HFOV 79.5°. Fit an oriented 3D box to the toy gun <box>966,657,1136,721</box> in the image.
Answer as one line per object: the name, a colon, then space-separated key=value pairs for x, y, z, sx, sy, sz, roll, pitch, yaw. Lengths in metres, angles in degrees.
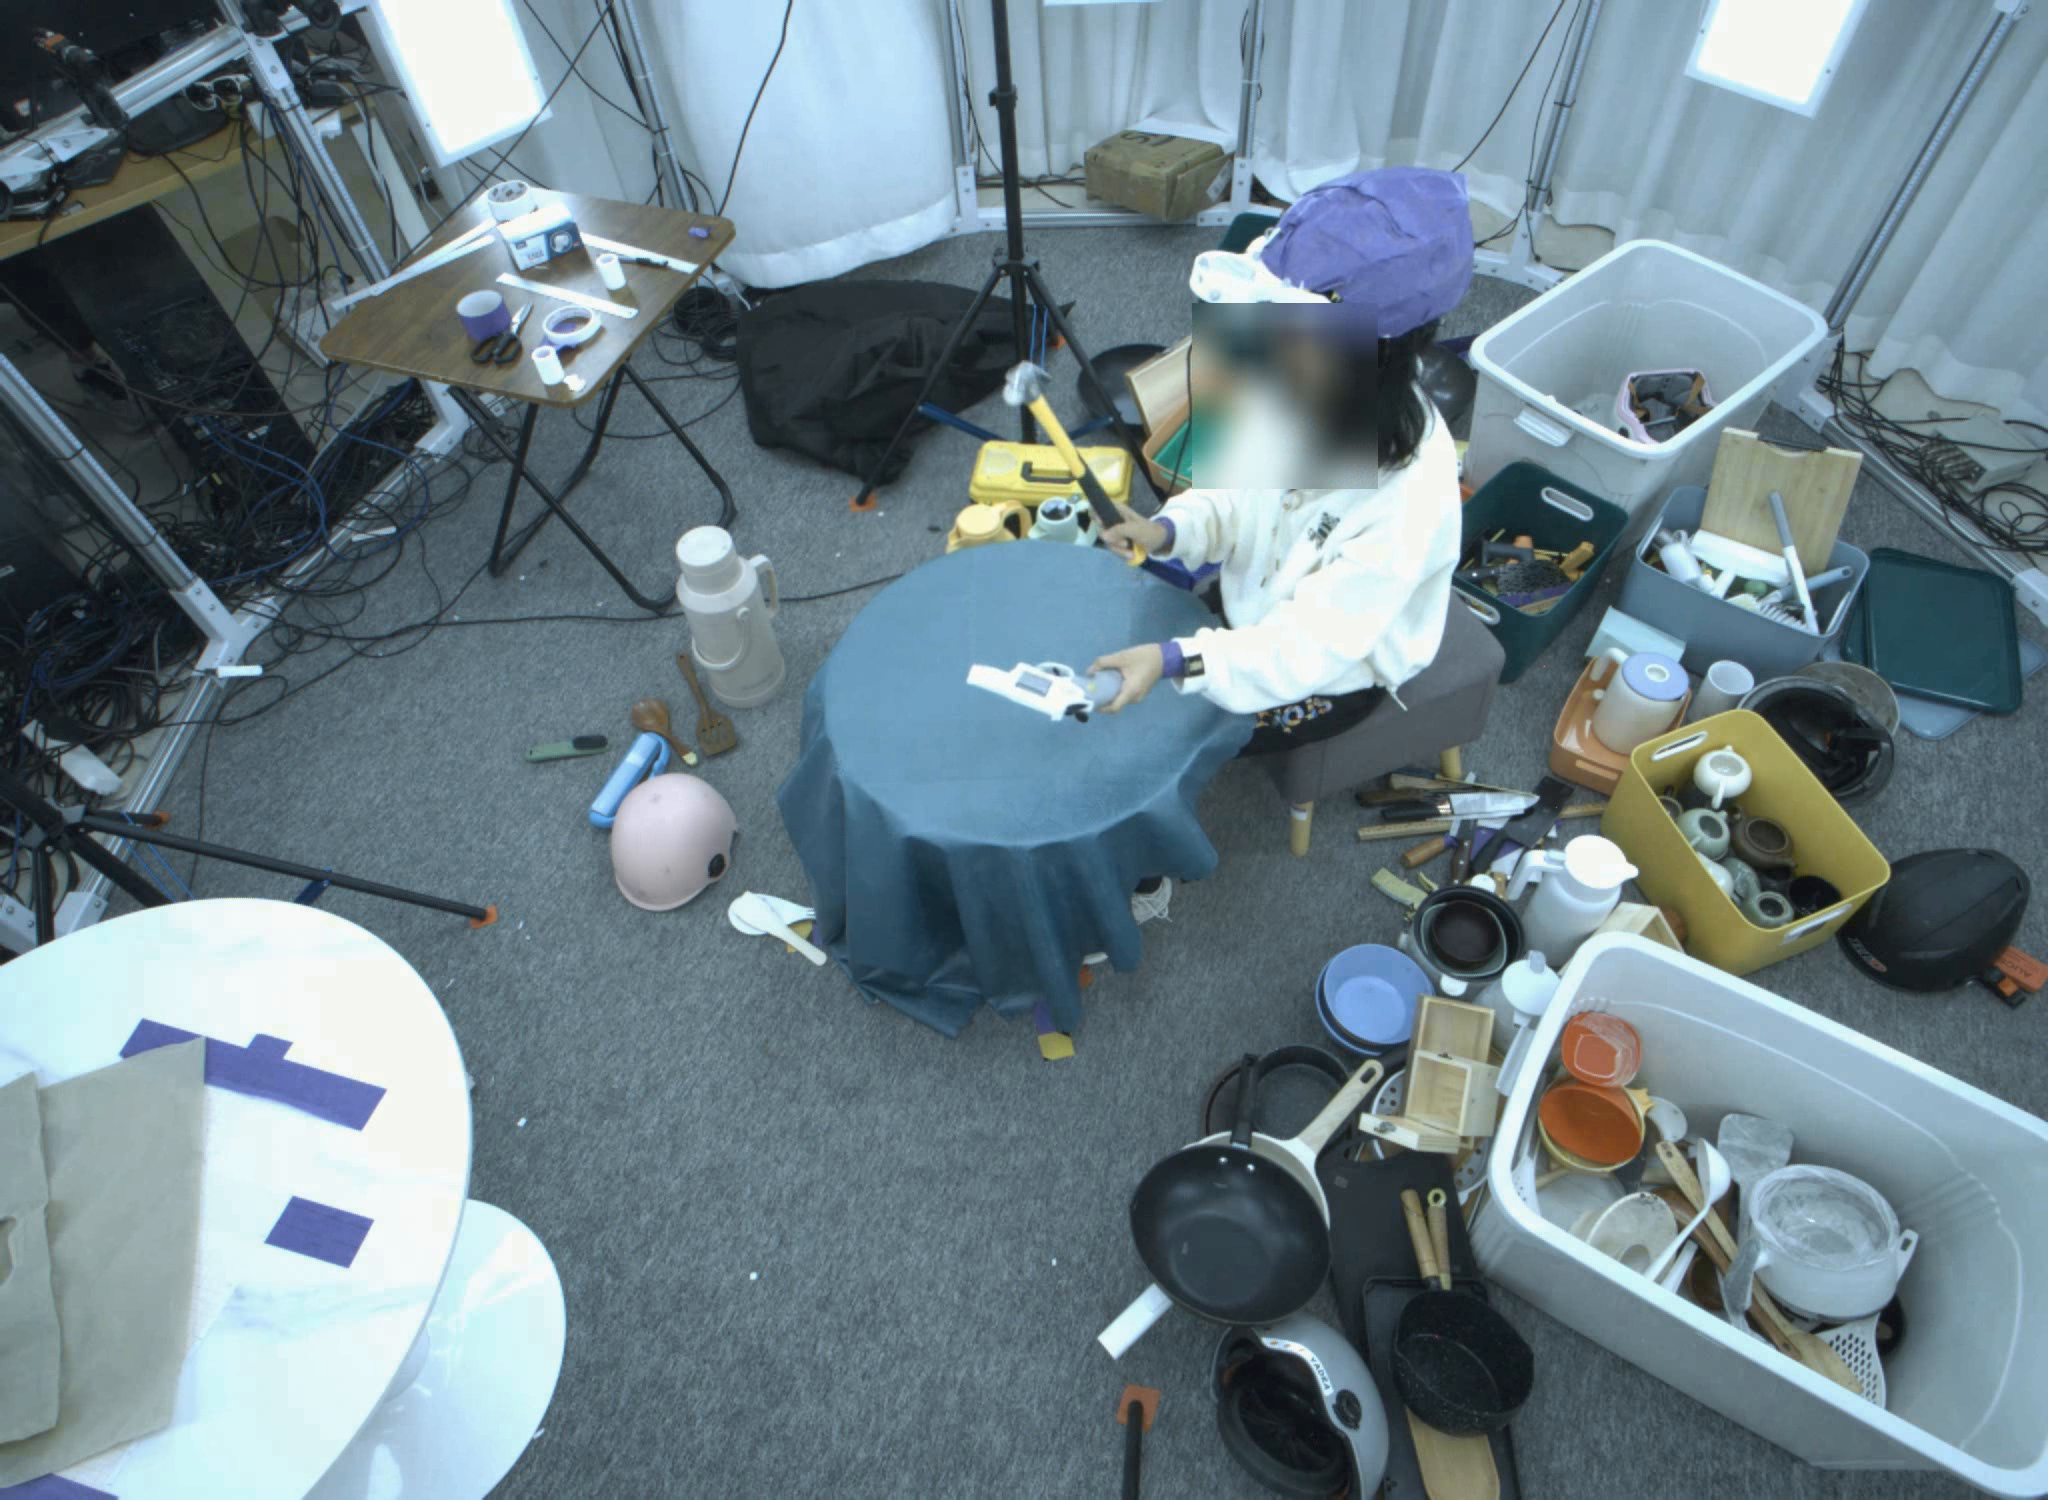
toy gun: x=0.038 y=-0.097 z=1.660 sx=0.209 sy=0.039 sz=0.141 roll=20 pitch=45 yaw=2

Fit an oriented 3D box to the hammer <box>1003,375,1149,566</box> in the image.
hammer: x=0.079 y=-0.395 z=1.721 sx=0.032 sy=0.345 sz=0.130 roll=-25 pitch=32 yaw=24
